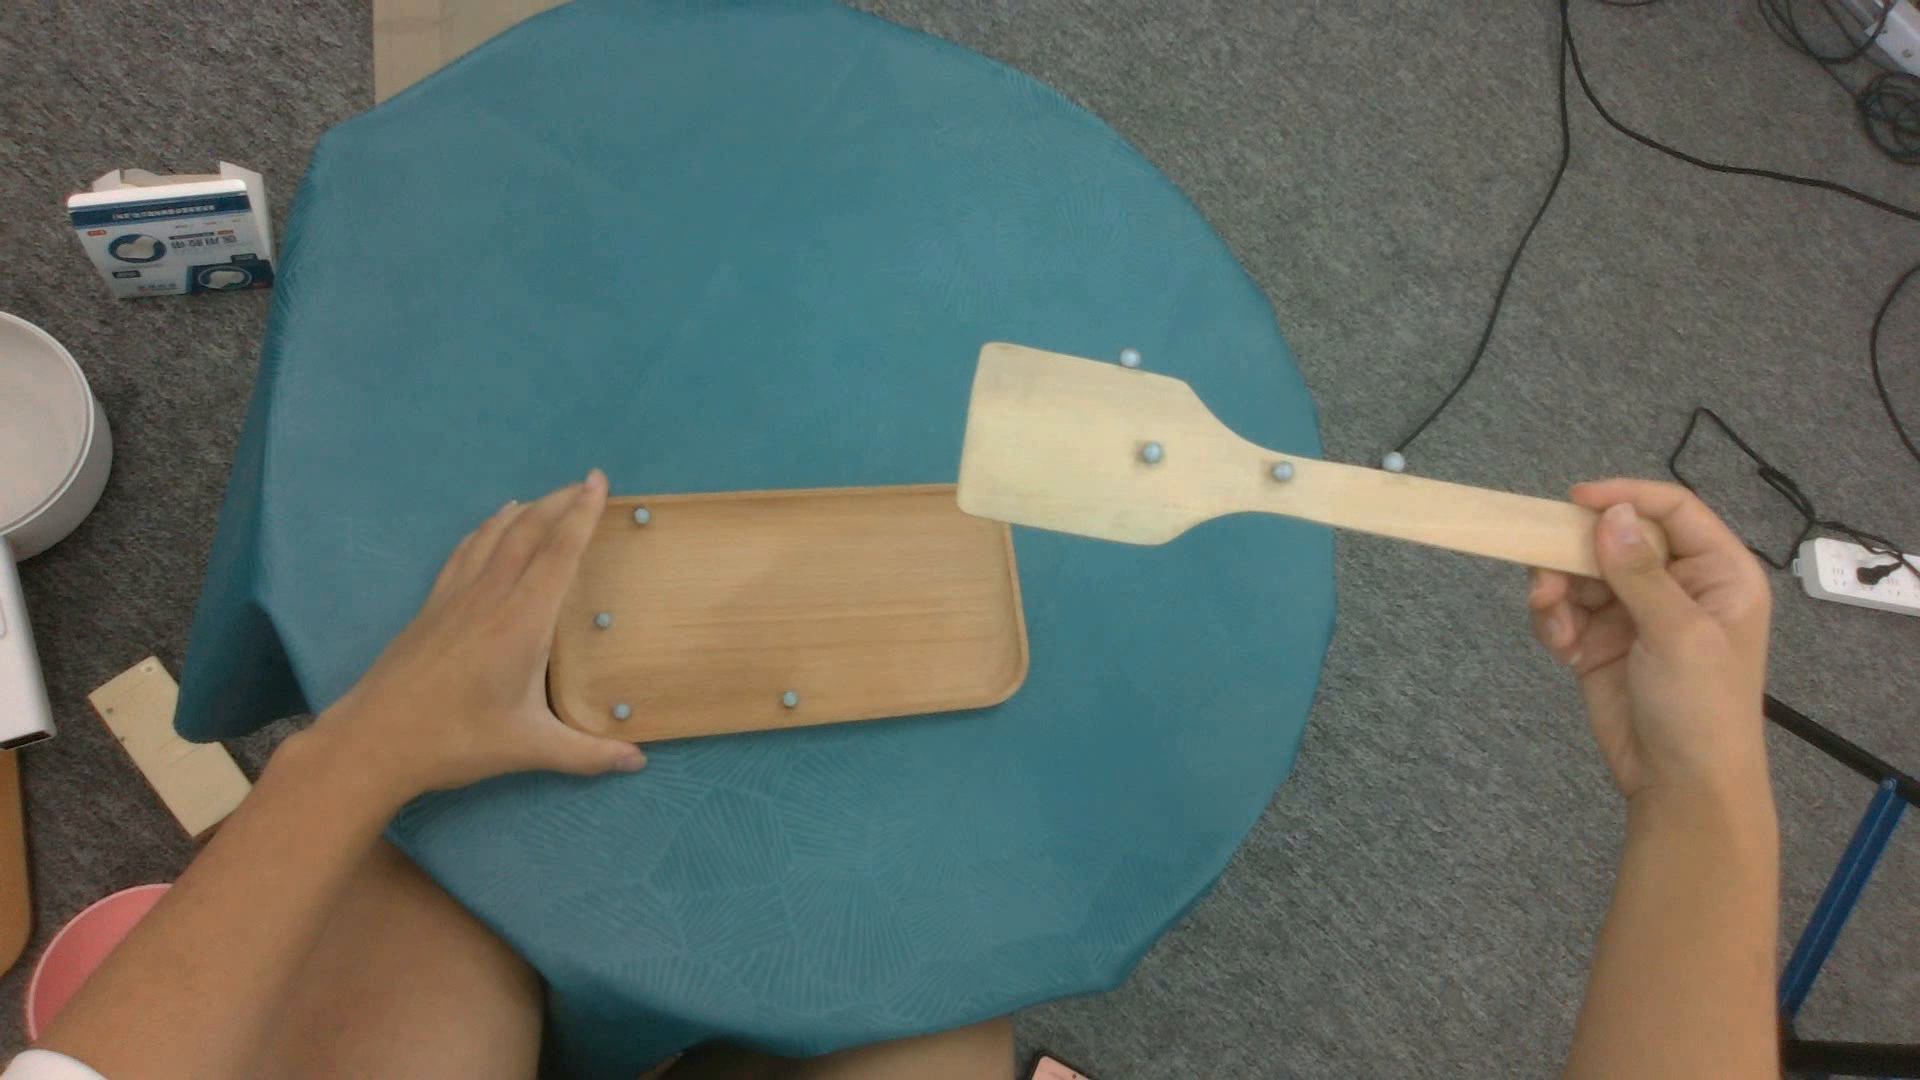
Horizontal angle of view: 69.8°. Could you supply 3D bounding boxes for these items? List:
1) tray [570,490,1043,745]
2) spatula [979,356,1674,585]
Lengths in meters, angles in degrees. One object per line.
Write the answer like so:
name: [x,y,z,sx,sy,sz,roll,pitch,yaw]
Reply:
tray: [-0.079,0.038,0.741,0.251,0.023,0.131,-2,76,-19]
spatula: [0.155,-0.018,0.563,0.293,0.010,0.072,9,82,-5]
